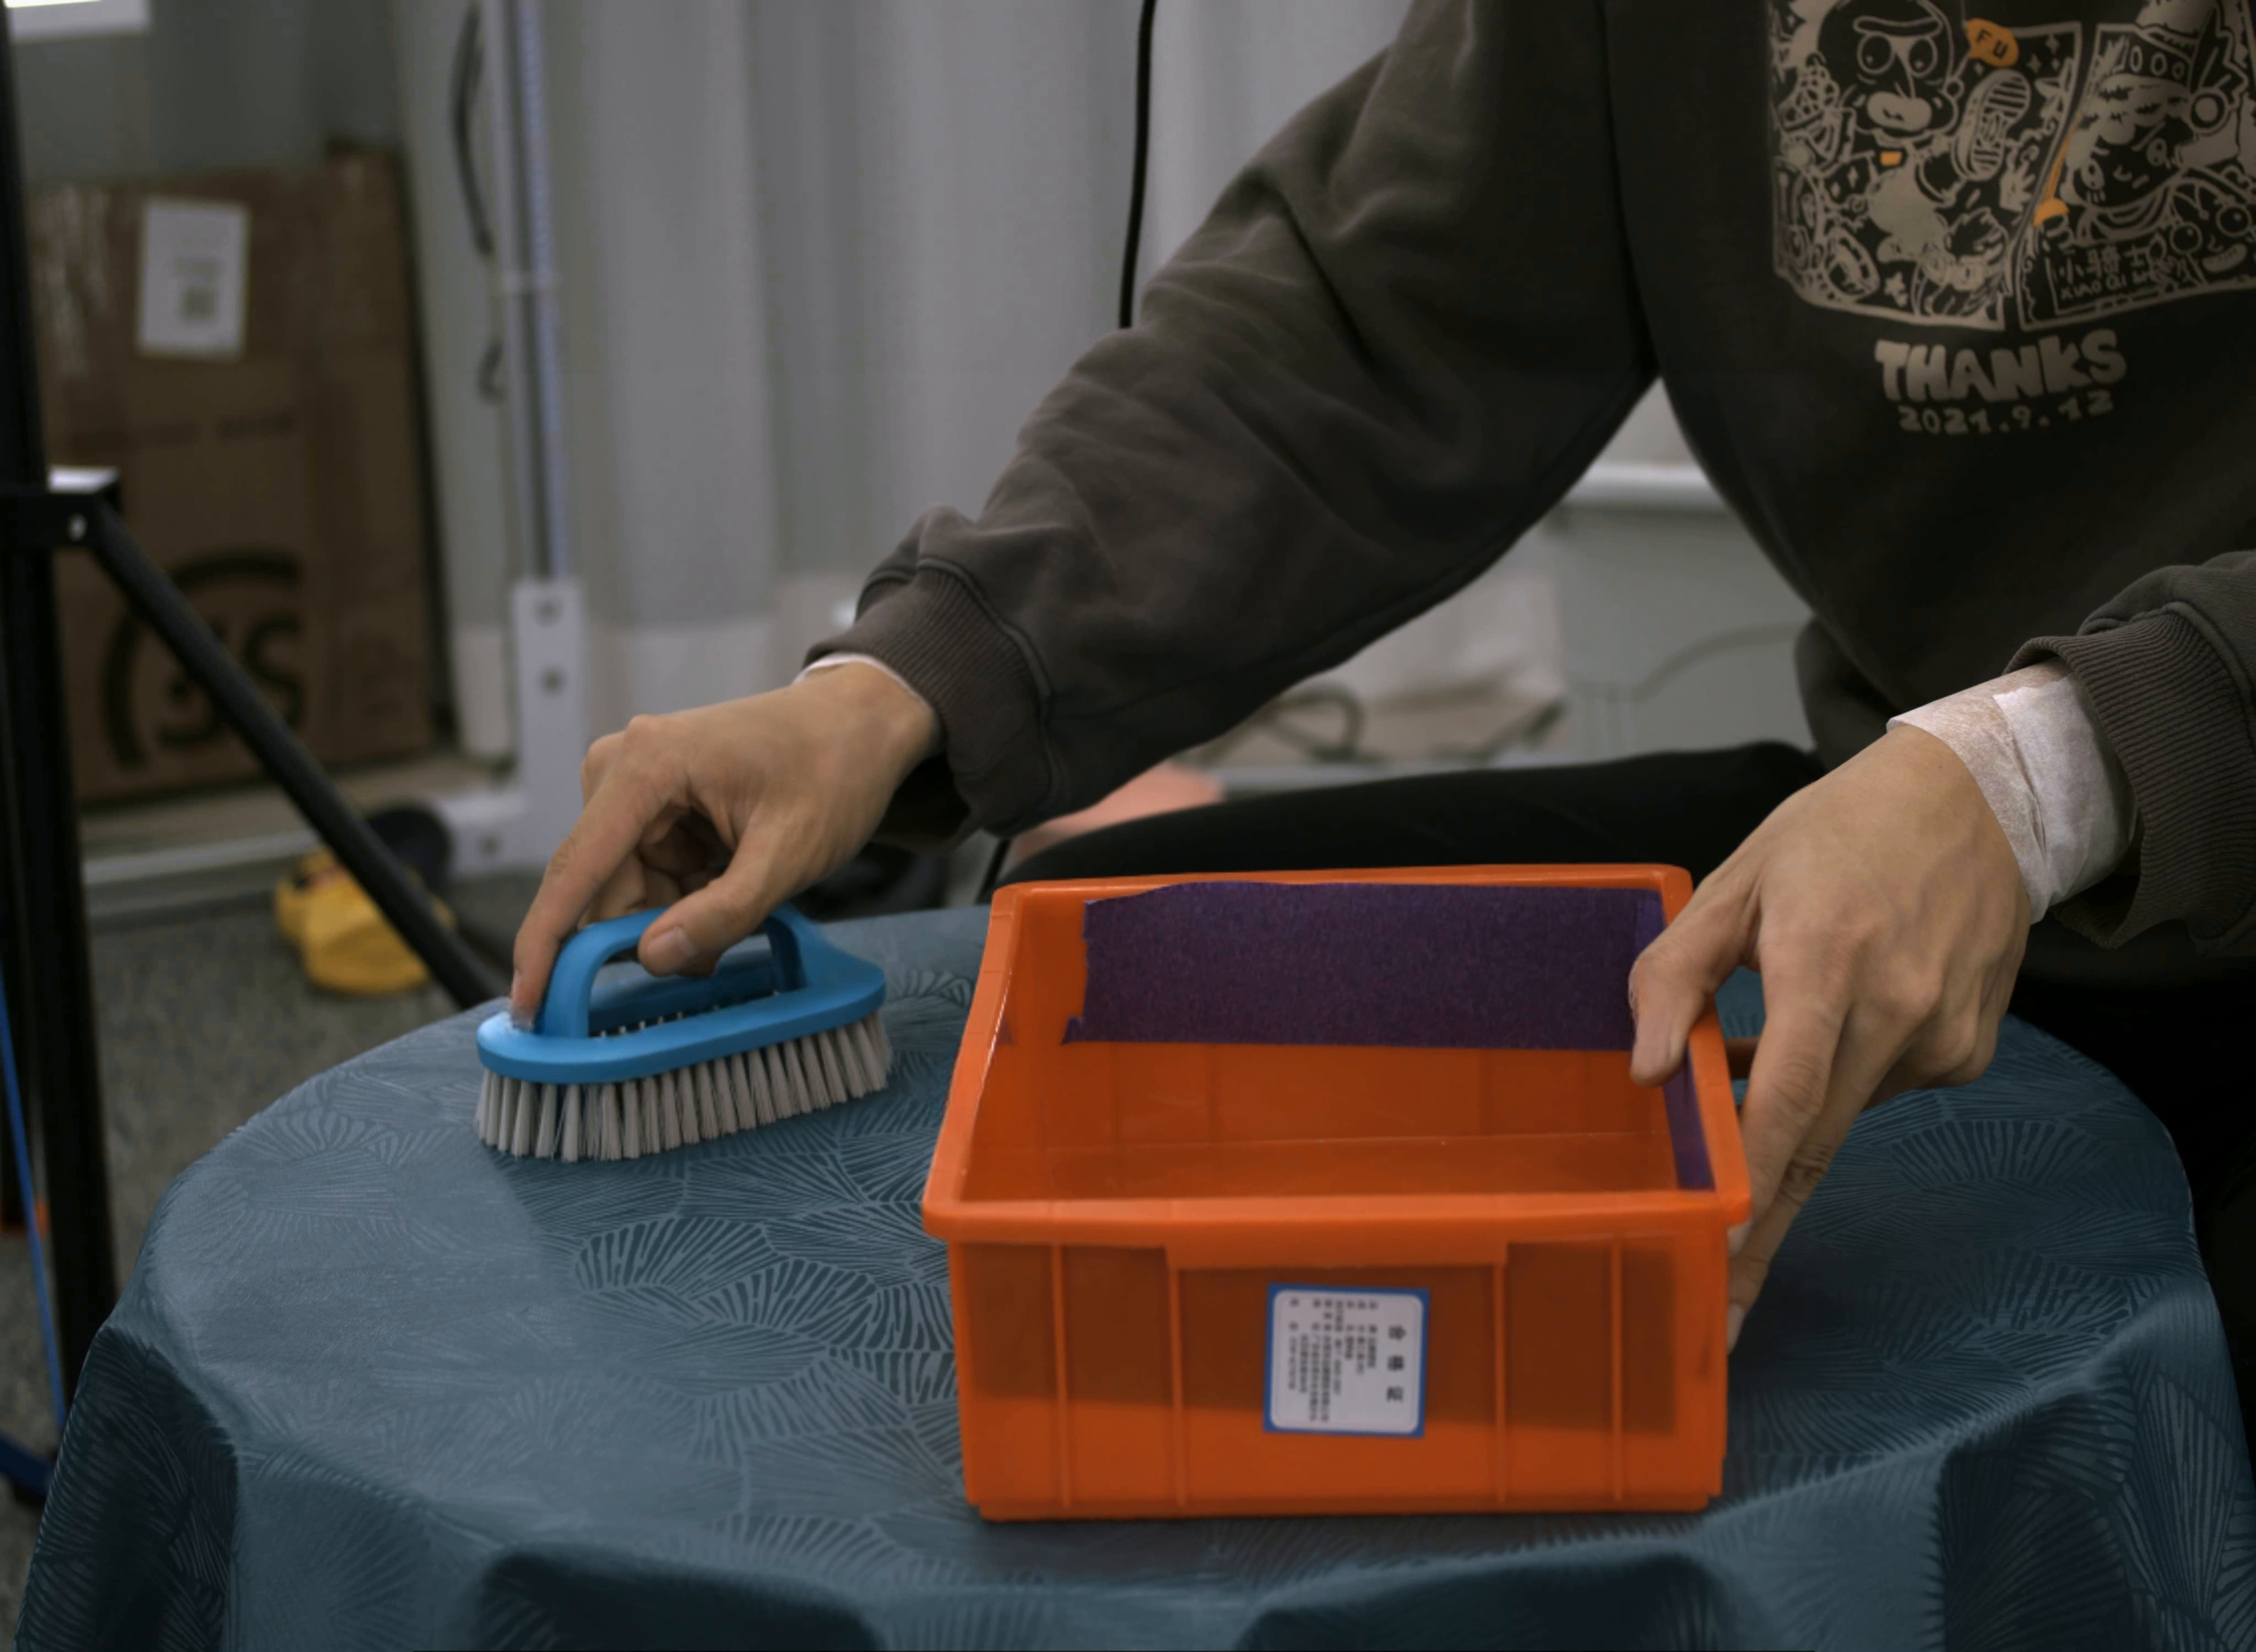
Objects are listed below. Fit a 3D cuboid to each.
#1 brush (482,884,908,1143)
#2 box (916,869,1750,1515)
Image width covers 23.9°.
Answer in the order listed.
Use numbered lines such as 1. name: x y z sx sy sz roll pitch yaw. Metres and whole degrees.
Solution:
1. brush: -0.137 0.054 1.657 0.138 0.064 0.086 -11 13 -31
2. box: 0.058 0.095 1.440 0.206 0.096 0.304 -1 16 4
